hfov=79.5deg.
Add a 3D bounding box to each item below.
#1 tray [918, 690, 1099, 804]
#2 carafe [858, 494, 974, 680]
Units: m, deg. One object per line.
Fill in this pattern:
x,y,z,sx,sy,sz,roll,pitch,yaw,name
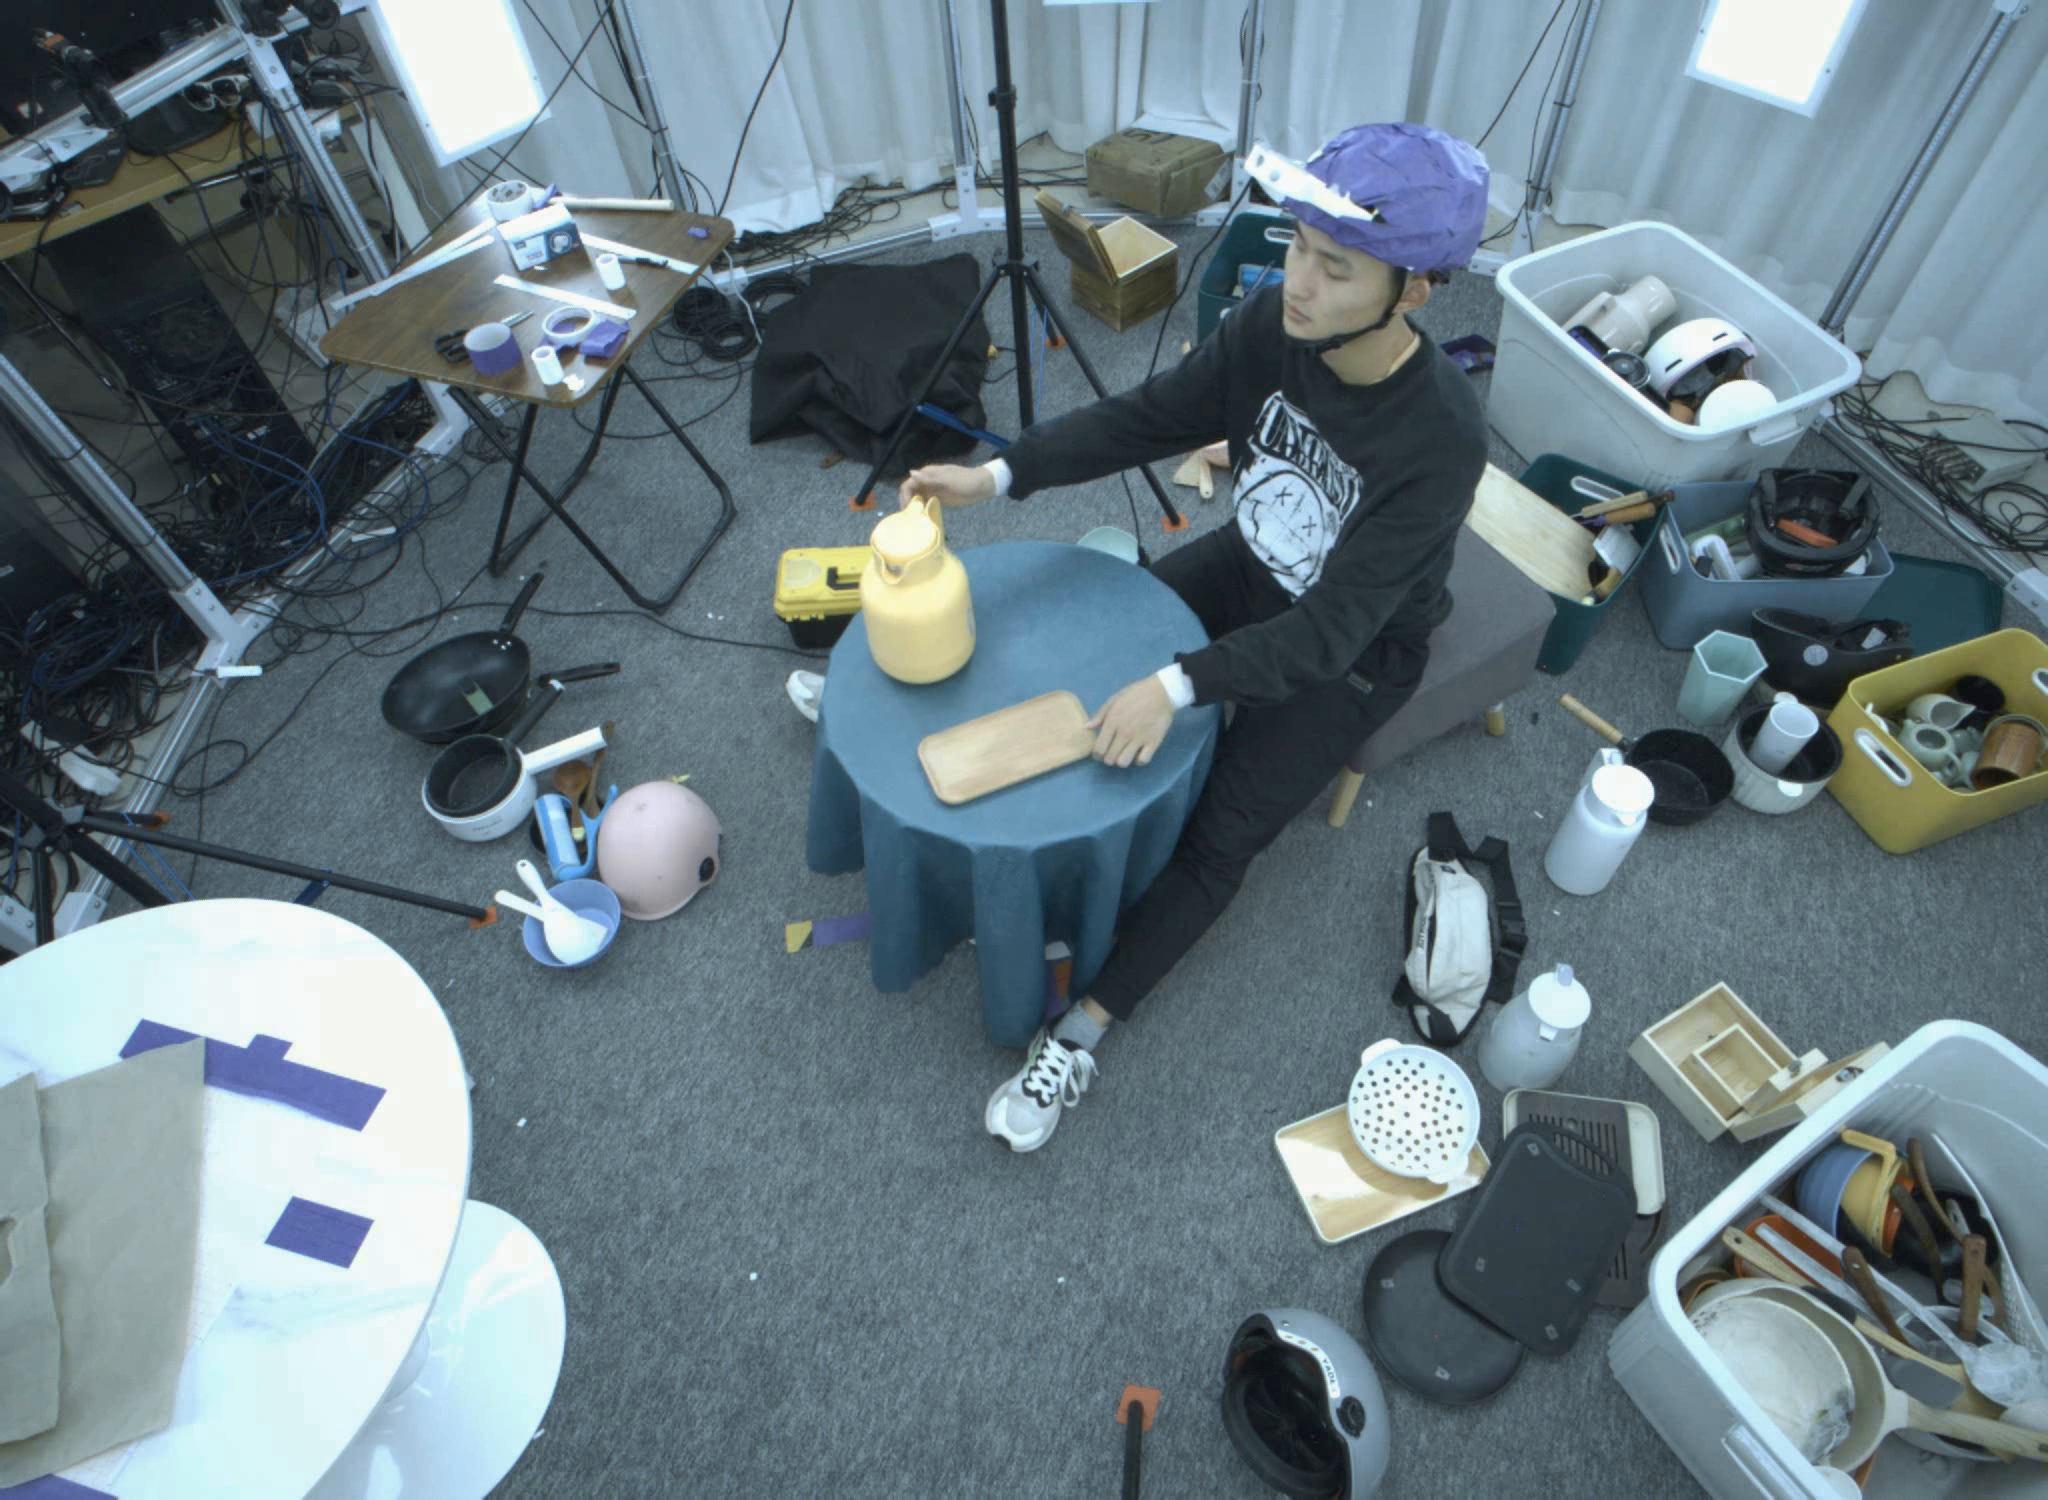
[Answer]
-0.022,-0.005,1.777,0.252,0.023,0.128,-19,58,-12,tray
-0.156,-0.246,1.801,0.162,0.263,0.201,12,58,9,carafe
